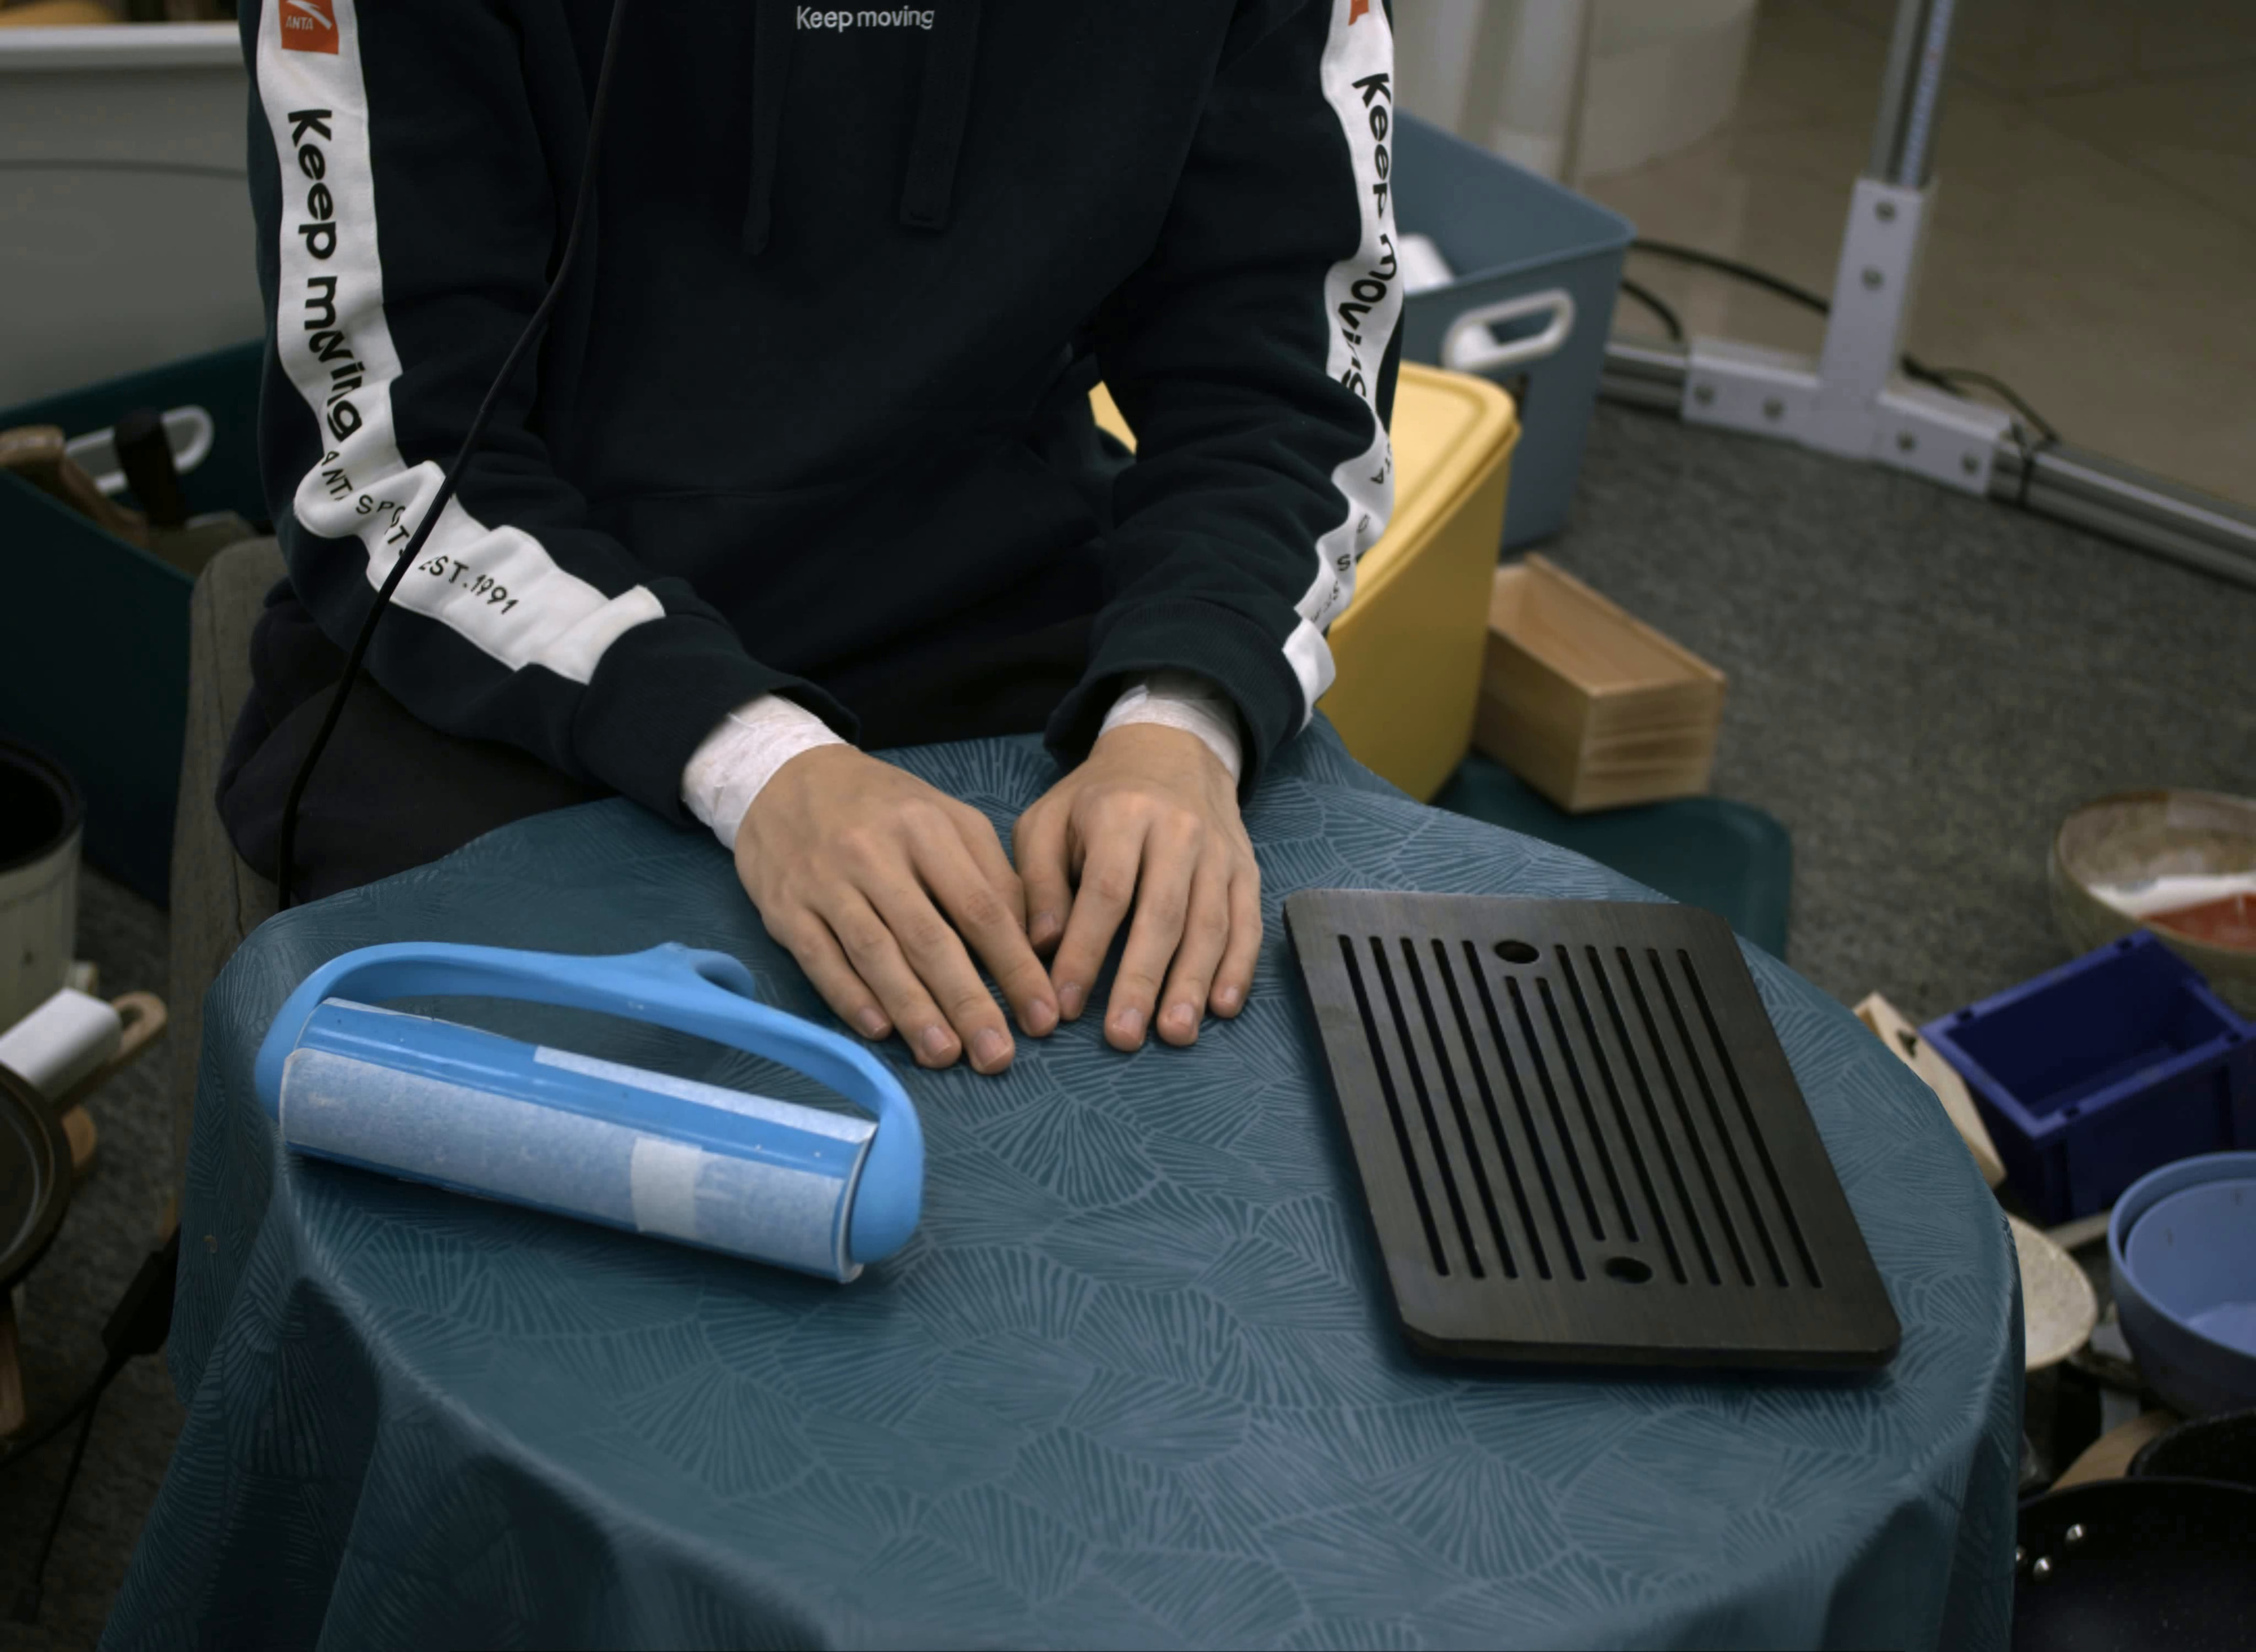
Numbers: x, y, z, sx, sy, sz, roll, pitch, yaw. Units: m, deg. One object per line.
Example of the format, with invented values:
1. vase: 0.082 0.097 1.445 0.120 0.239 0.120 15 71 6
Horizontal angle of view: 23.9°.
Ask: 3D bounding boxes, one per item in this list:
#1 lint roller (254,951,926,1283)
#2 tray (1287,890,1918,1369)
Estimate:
1. lint roller: -0.165 0.076 1.792 0.229 0.067 0.181 9 28 9
2. tray: 0.158 0.104 1.852 0.169 0.018 0.308 2 27 -8
